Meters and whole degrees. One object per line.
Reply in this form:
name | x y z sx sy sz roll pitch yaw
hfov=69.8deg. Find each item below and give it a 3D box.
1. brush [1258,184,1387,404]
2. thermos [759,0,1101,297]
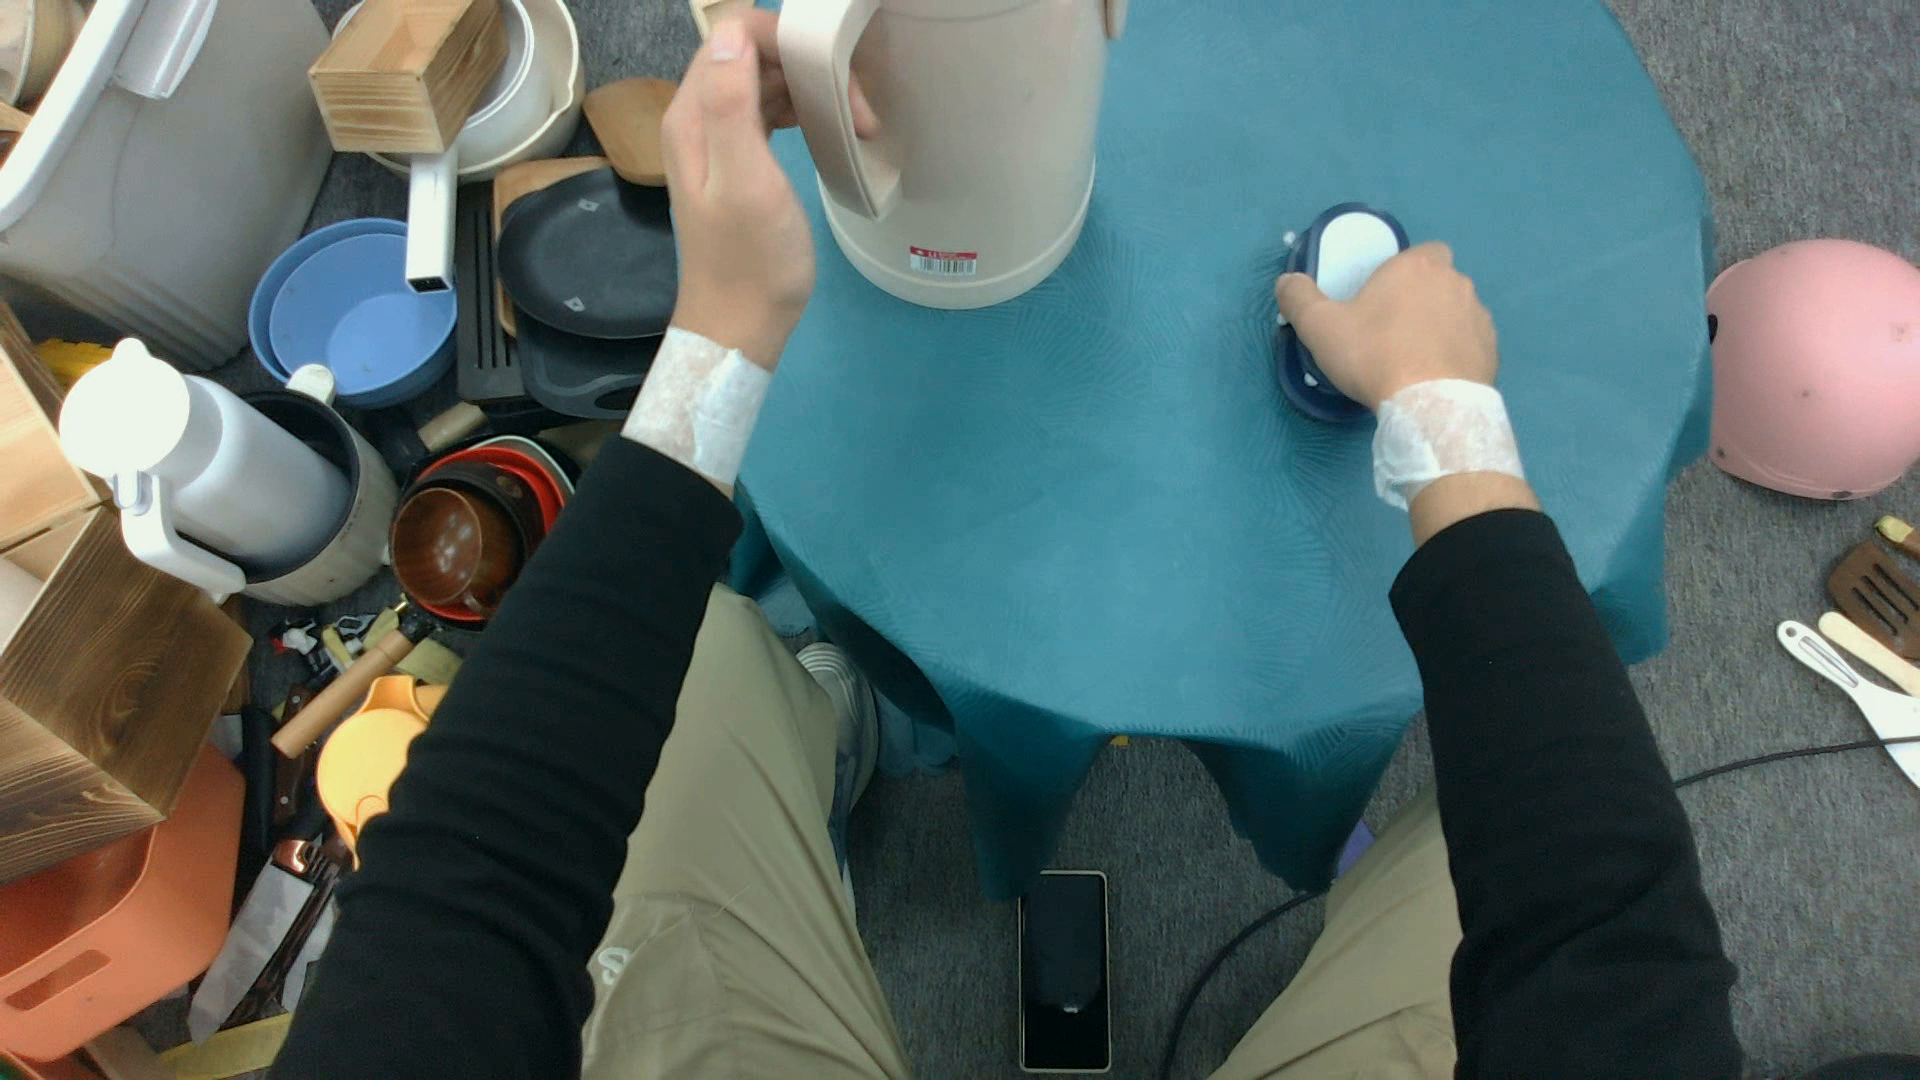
brush | 0.201 -0.135 0.765 0.068 0.061 0.122 8 76 3
thermos | -0.023 -0.256 0.623 0.175 0.405 0.207 26 75 5
